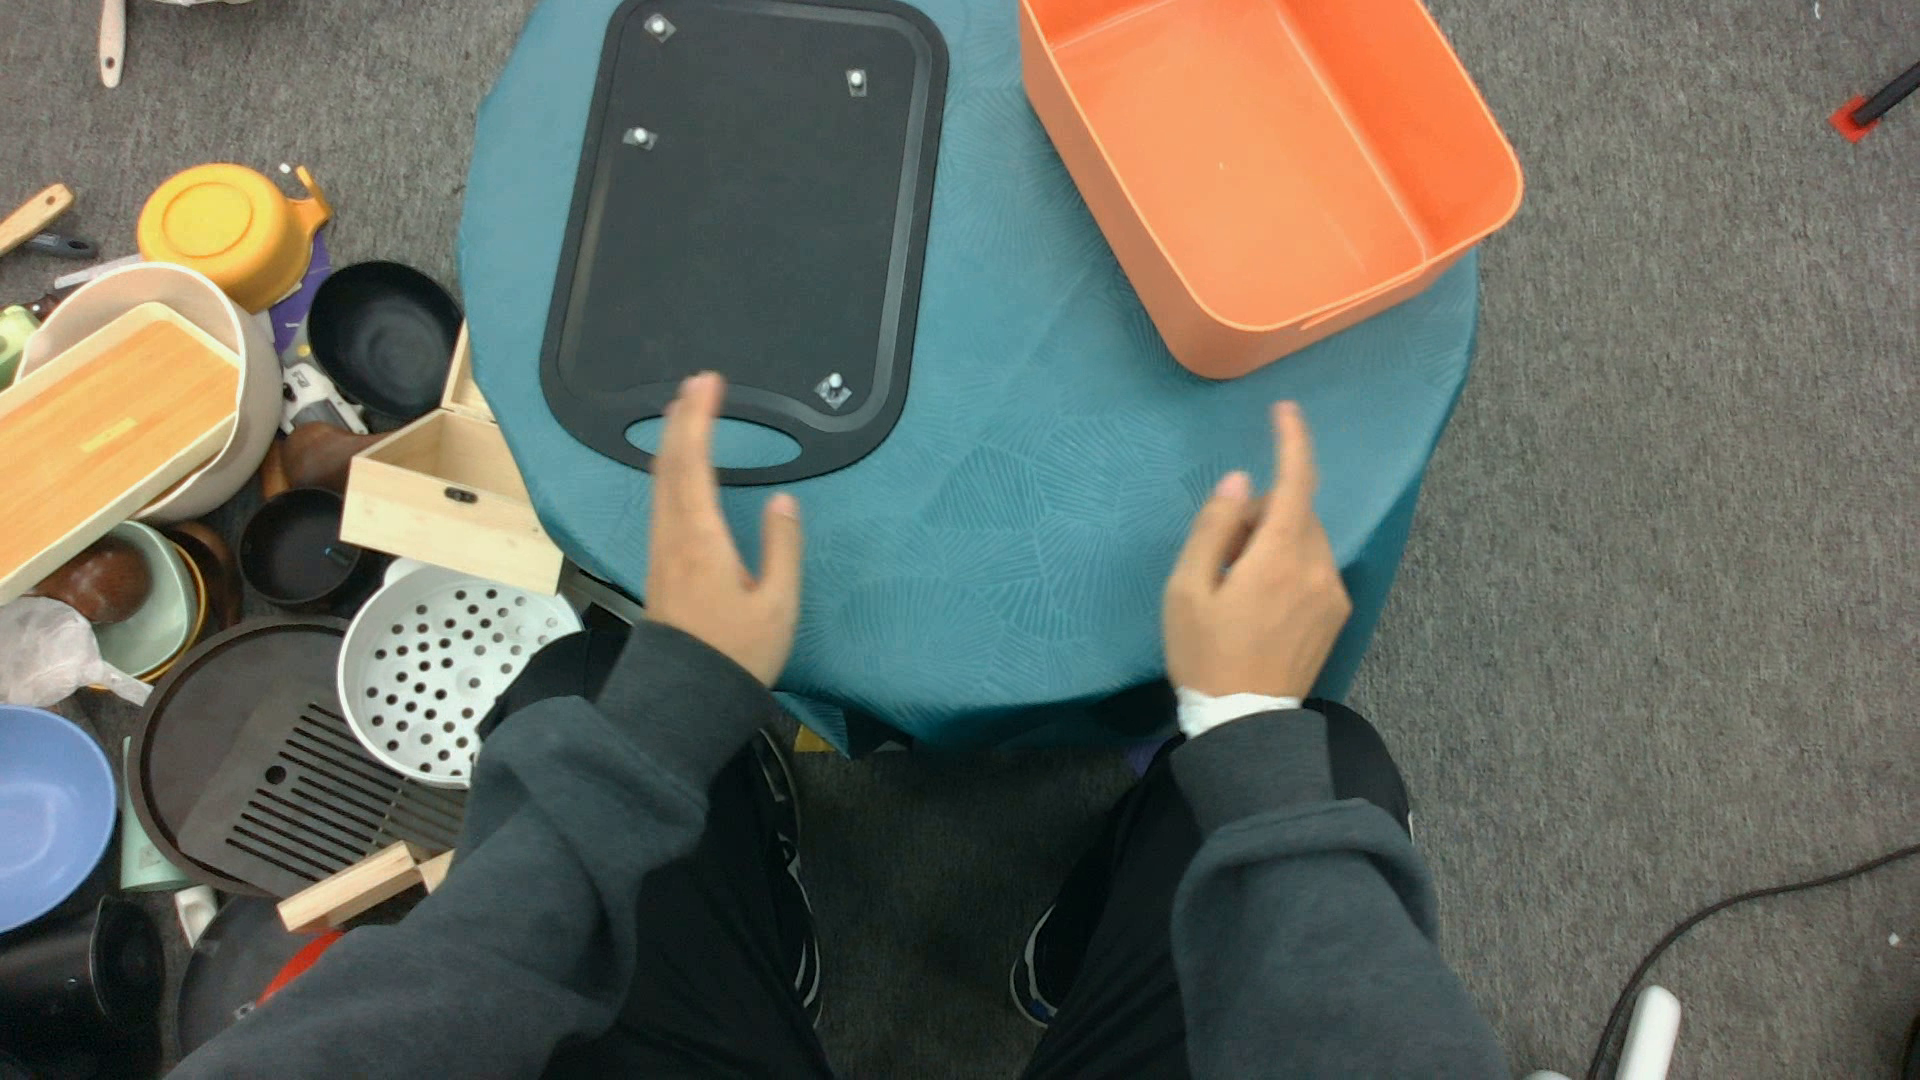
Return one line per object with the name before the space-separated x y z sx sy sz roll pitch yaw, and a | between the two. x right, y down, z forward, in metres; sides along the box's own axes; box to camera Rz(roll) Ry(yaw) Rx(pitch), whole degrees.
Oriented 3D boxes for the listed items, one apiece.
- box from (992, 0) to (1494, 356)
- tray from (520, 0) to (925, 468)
box | 0.144 -0.247 0.777 0.199 0.102 0.273 -26 76 -9
tray | -0.135 -0.197 0.804 0.211 0.010 0.326 5 74 0
